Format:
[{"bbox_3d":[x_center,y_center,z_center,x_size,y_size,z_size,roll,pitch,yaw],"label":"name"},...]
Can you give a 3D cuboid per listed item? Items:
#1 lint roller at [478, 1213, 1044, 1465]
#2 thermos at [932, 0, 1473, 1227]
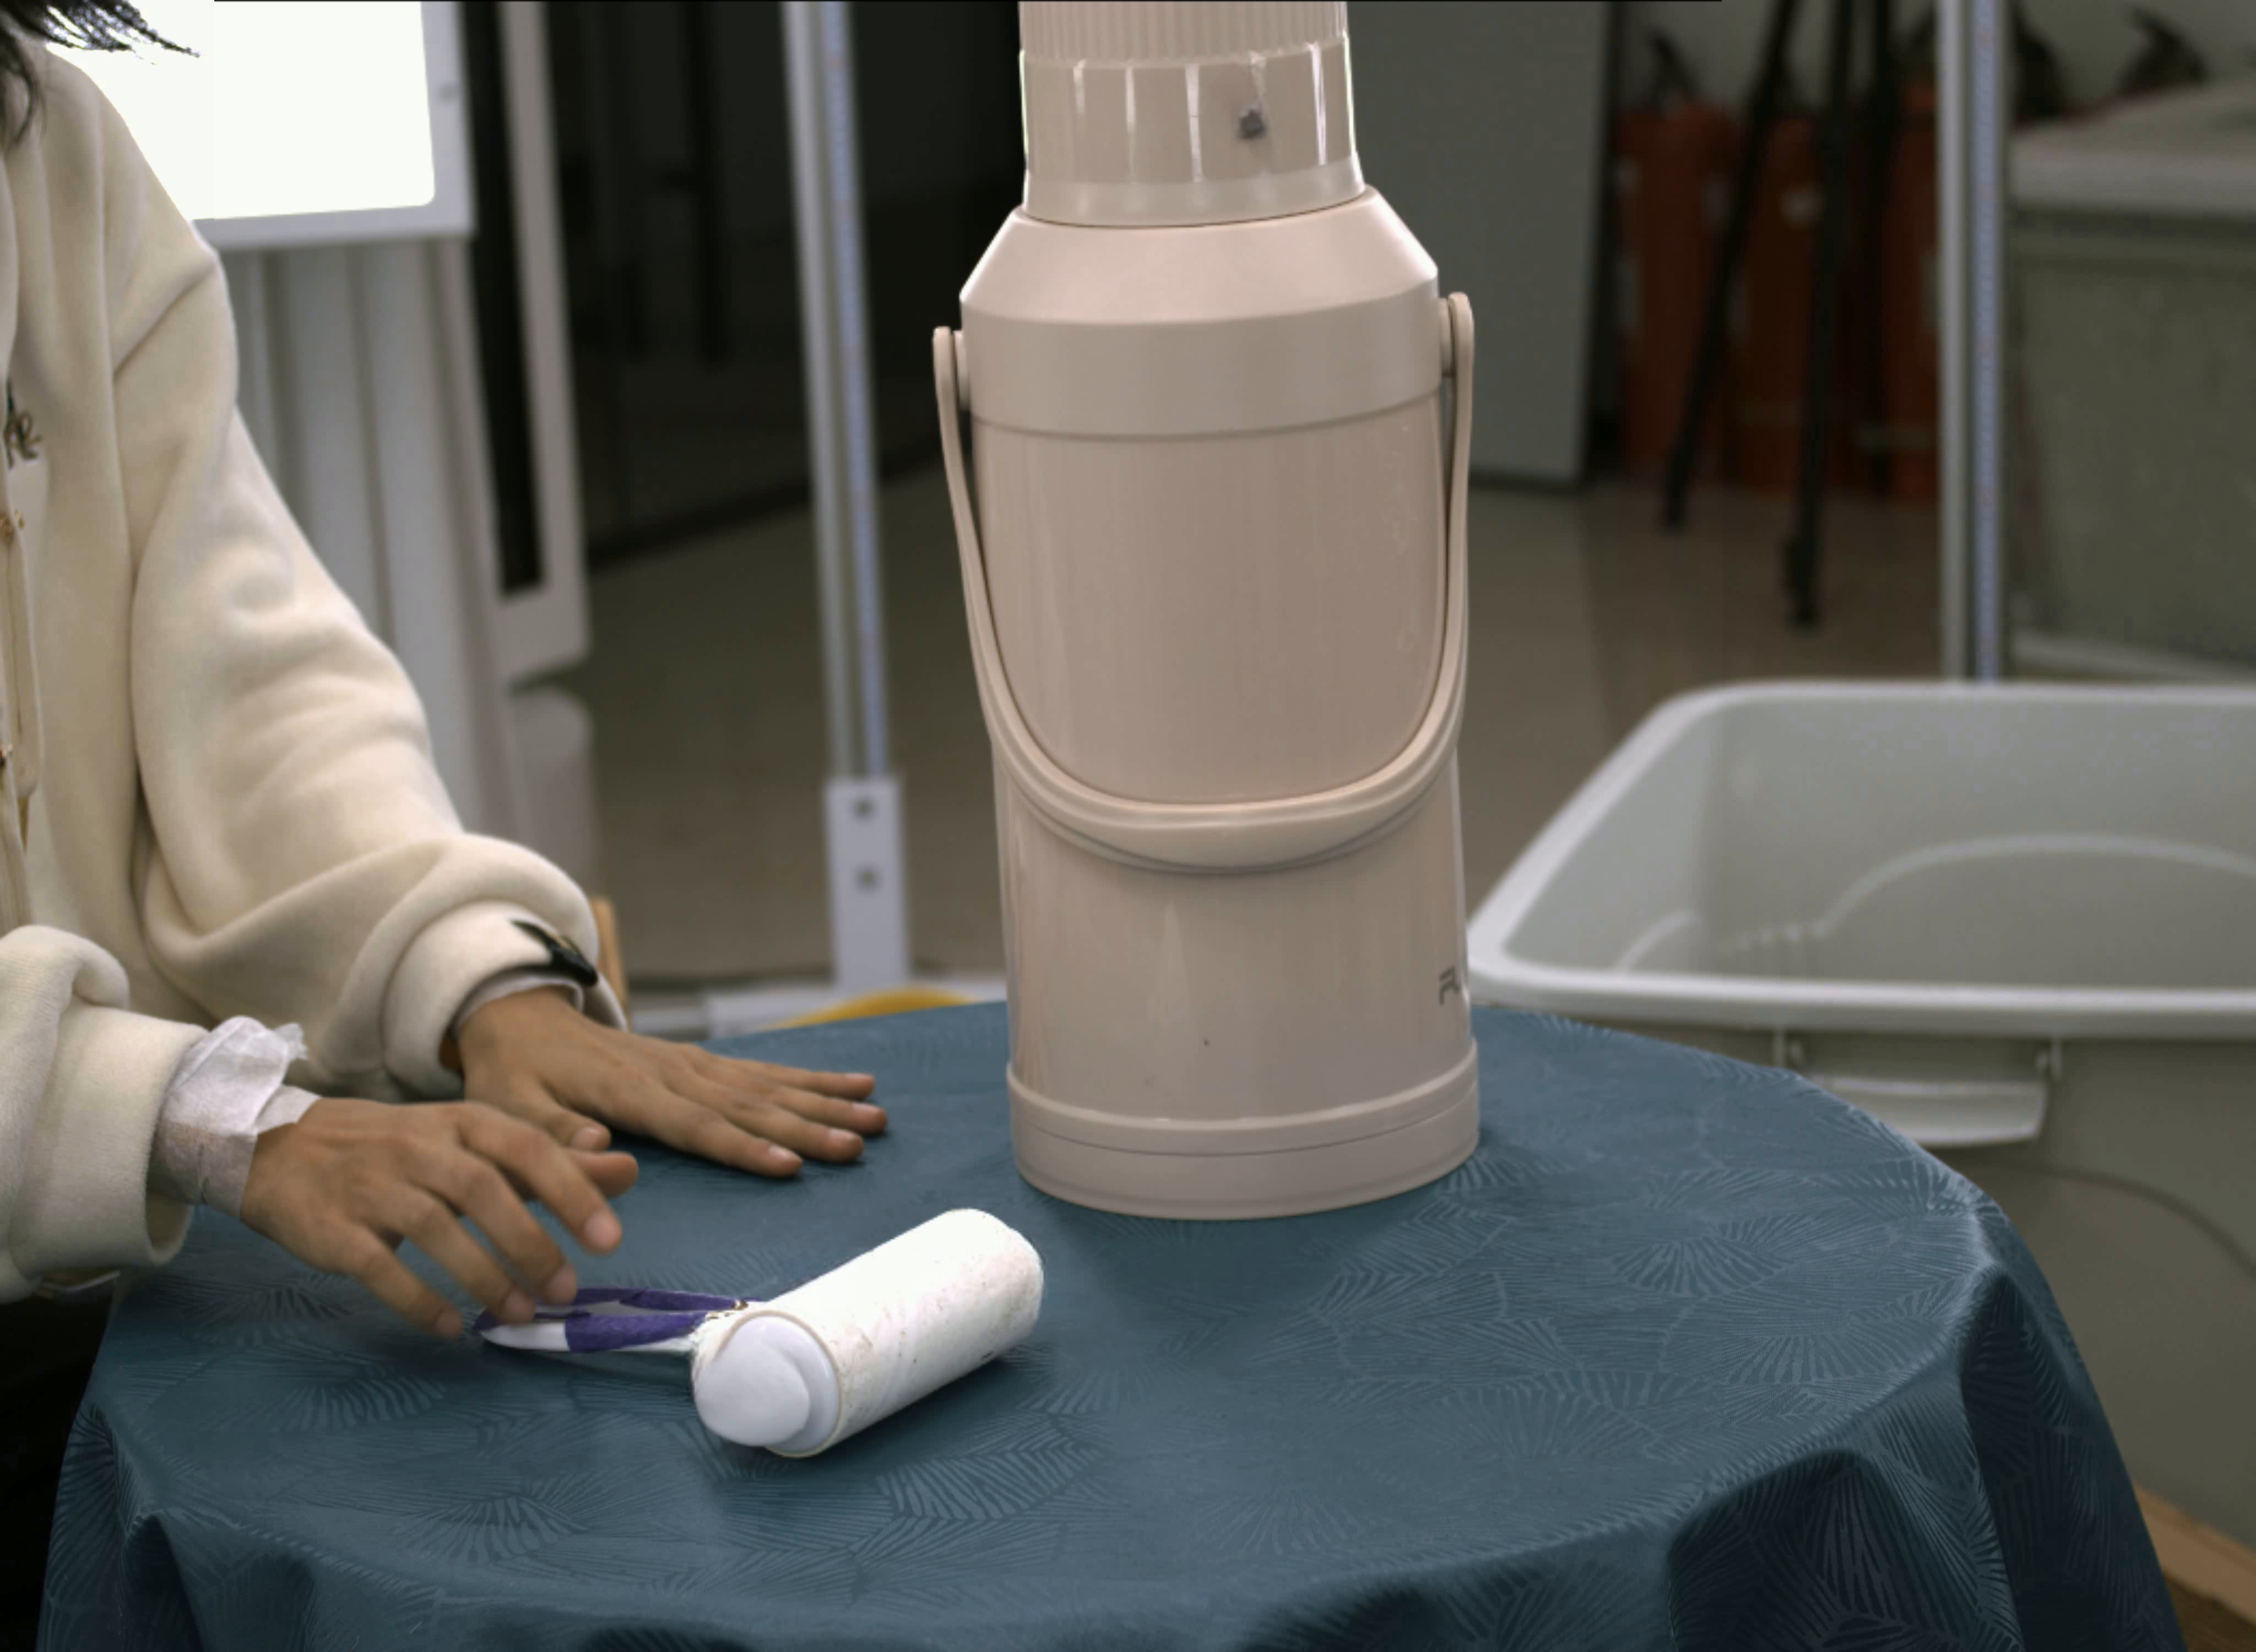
[{"bbox_3d":[-0.124,0.142,1.621,0.182,0.051,0.130,9,19,36],"label":"lint roller"},{"bbox_3d":[0.028,-0.088,1.774,0.173,0.411,0.207,-4,13,-1],"label":"thermos"}]
